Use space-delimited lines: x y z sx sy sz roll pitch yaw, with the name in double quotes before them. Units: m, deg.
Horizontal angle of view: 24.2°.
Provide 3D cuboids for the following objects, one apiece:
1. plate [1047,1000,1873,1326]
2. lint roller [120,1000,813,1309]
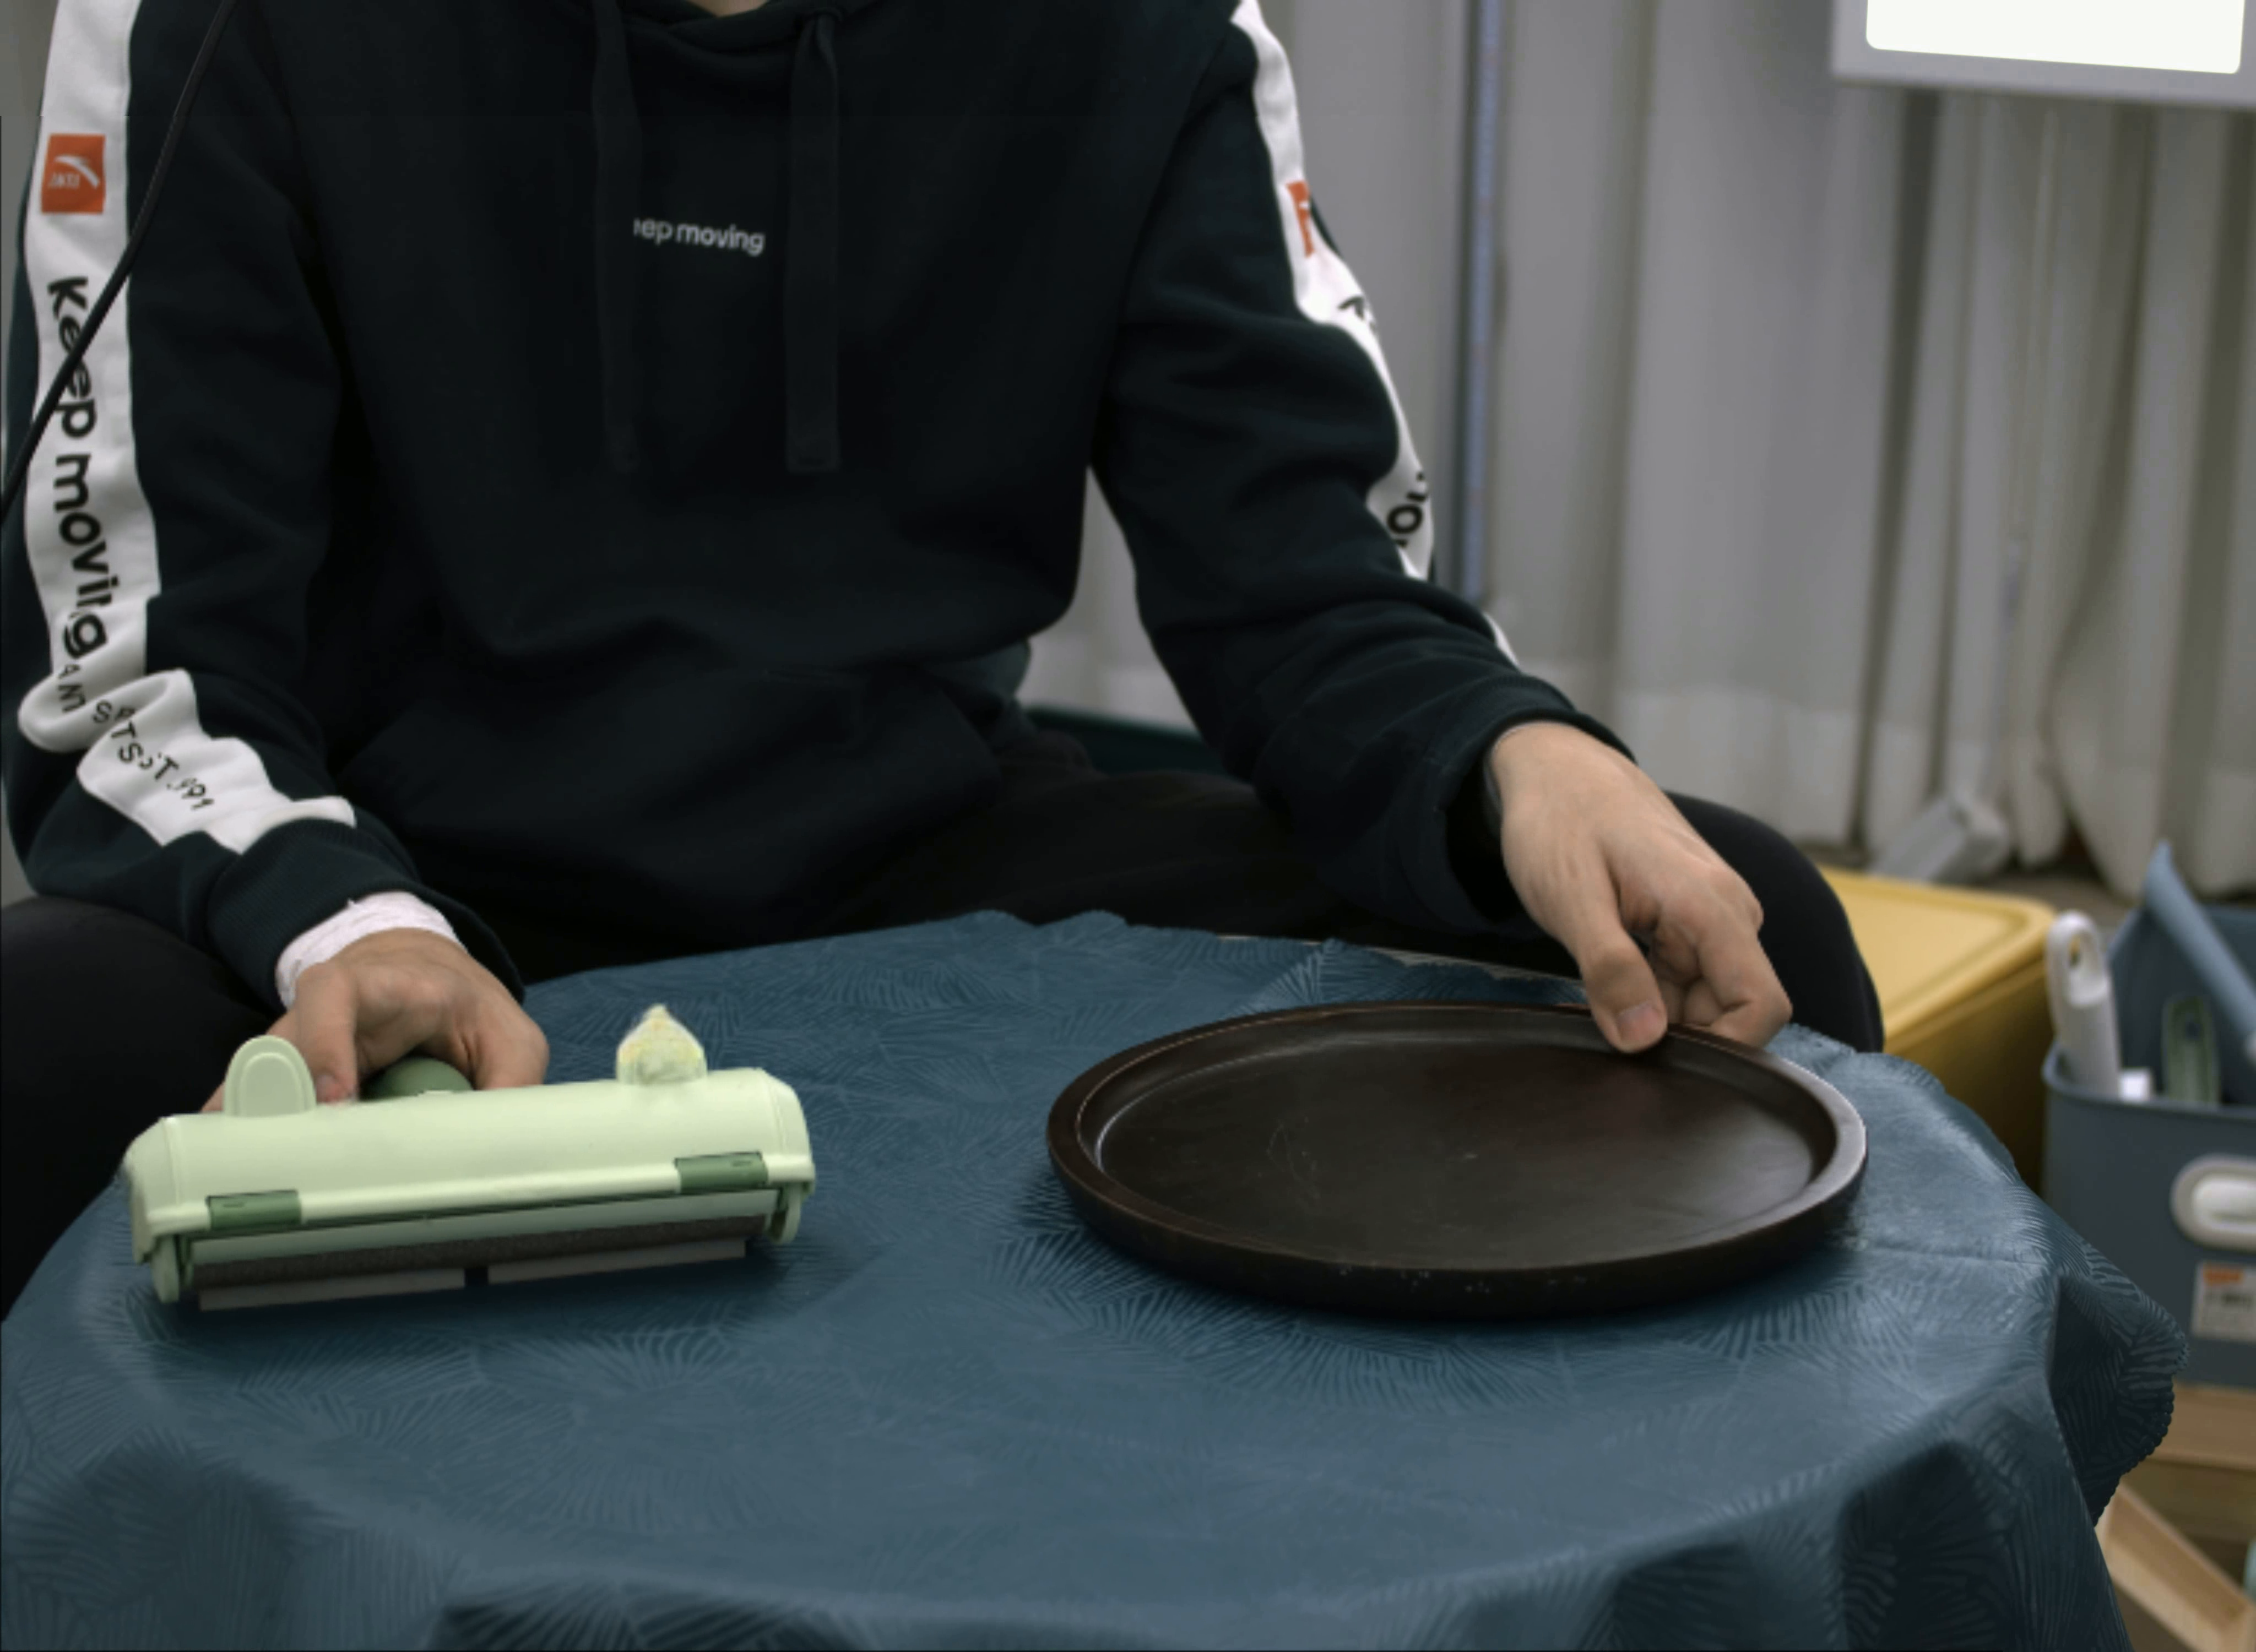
"plate" 0.101 0.101 1.616 0.254 0.029 0.253 0 17 1
"lint roller" -0.207 0.080 1.578 0.199 0.083 0.181 -4 20 -16
